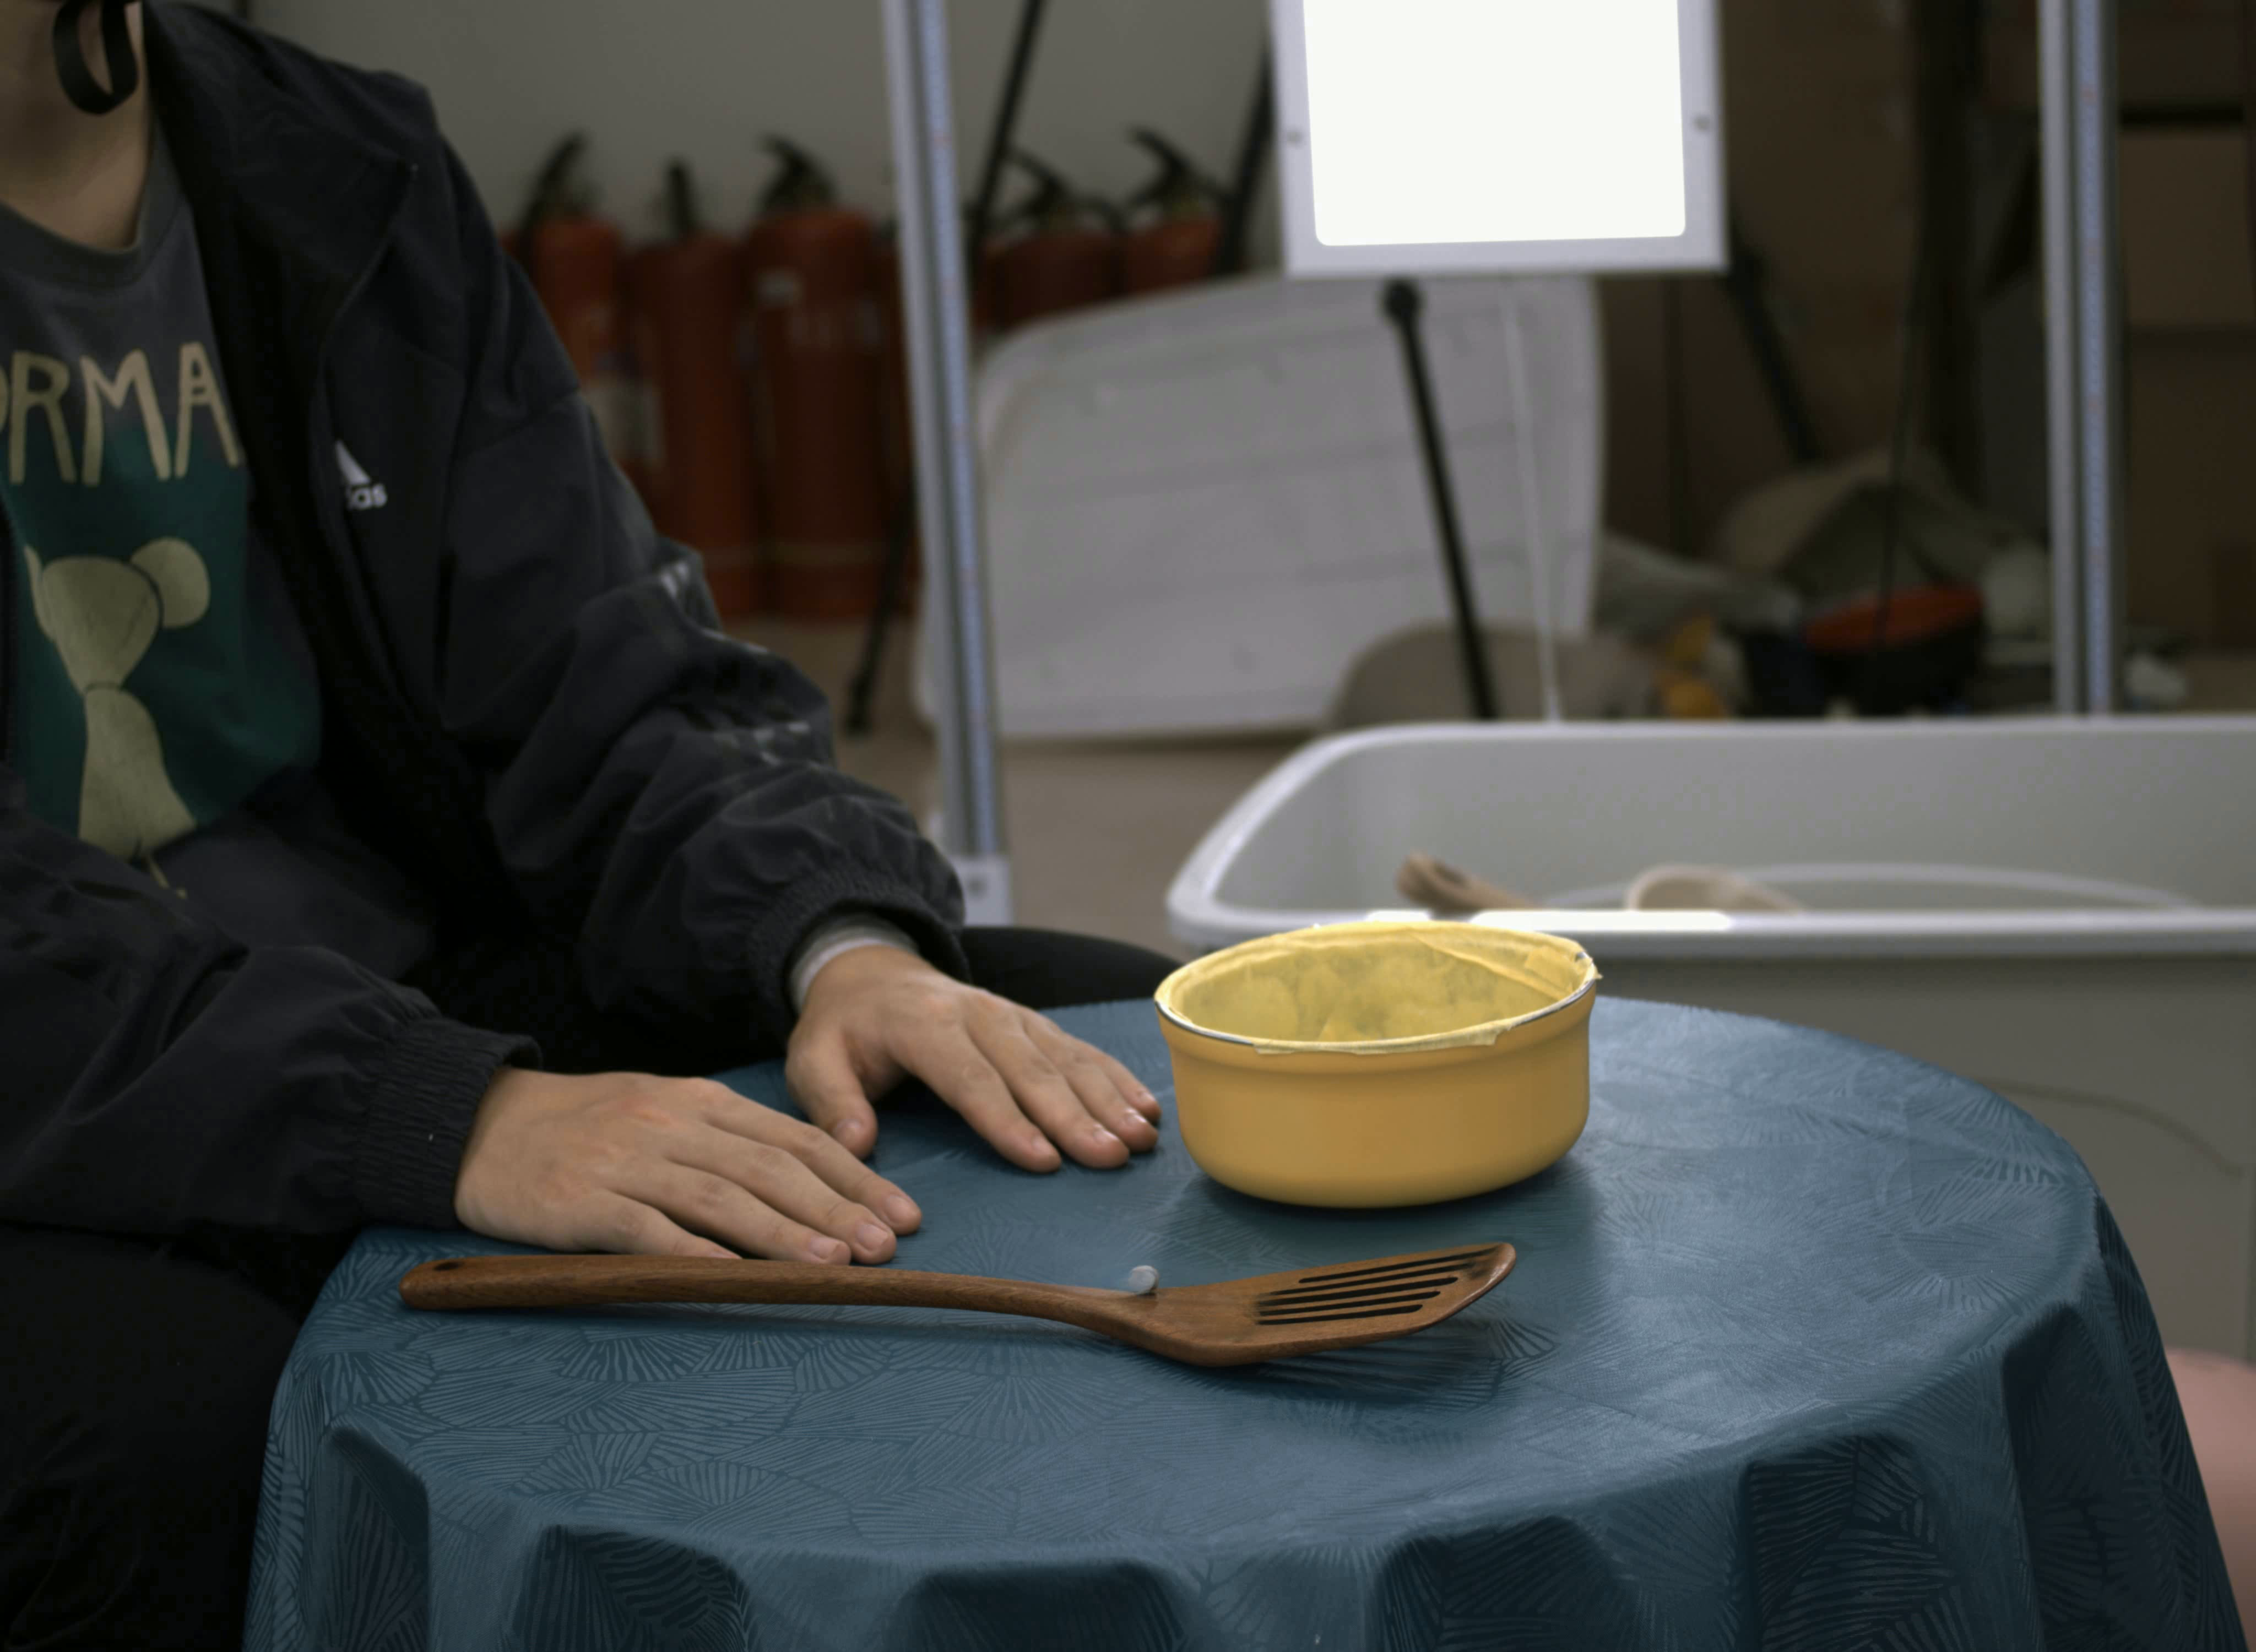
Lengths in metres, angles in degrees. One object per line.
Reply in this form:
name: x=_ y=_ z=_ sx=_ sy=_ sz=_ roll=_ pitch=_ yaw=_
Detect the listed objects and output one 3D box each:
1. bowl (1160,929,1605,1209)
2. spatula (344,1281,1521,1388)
bowl: x=0.088 y=0.083 z=1.910 sx=0.152 sy=0.074 sz=0.180 roll=-6 pitch=13 yaw=-7
spatula: x=-0.067 y=0.161 z=1.765 sx=0.390 sy=0.024 sz=0.084 roll=1 pitch=6 yaw=14
